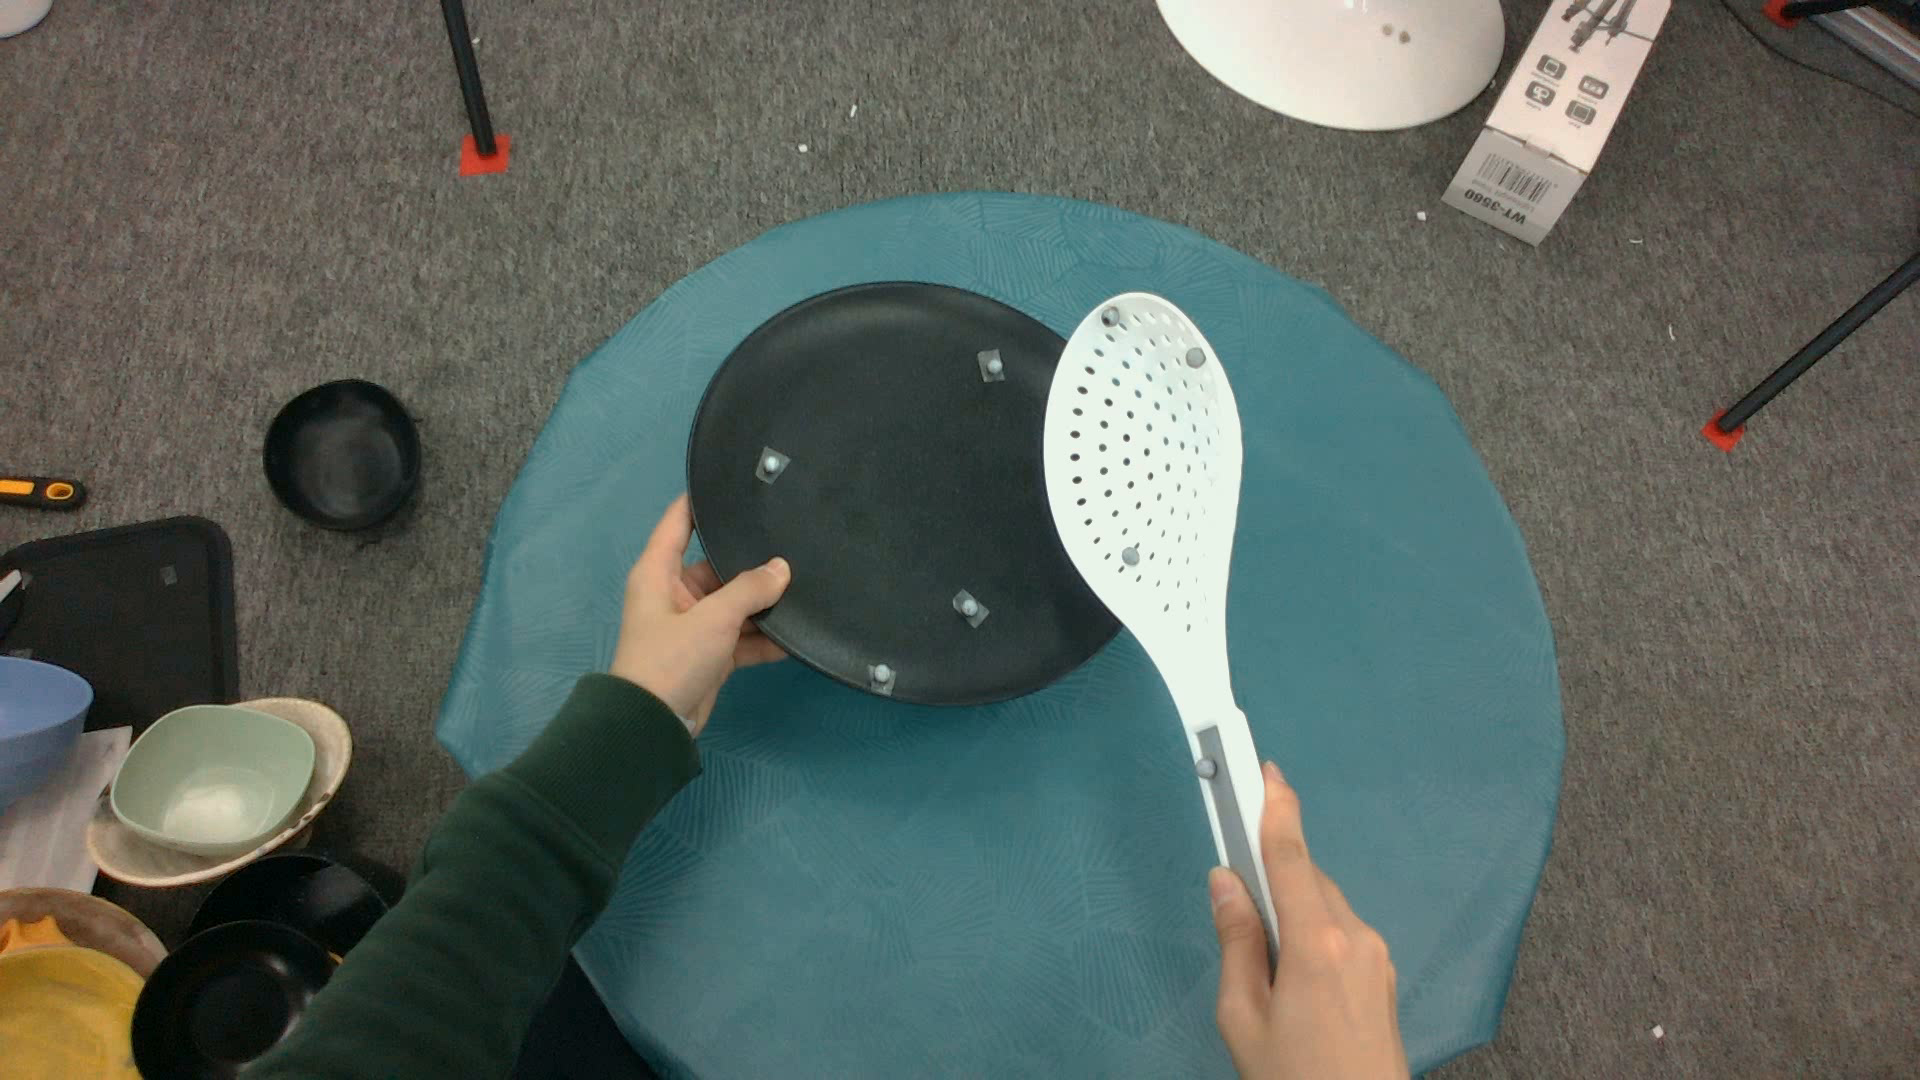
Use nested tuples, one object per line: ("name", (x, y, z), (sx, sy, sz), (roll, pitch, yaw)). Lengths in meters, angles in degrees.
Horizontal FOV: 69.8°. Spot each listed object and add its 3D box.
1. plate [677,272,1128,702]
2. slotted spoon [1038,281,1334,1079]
("plate", (-0.021, -0.030, 0.700), (0.244, 0.023, 0.245), (6, 63, -13))
("slotted spoon", (0.098, 0.057, 0.575), (0.046, 0.135, 0.350), (1, 69, -26))
